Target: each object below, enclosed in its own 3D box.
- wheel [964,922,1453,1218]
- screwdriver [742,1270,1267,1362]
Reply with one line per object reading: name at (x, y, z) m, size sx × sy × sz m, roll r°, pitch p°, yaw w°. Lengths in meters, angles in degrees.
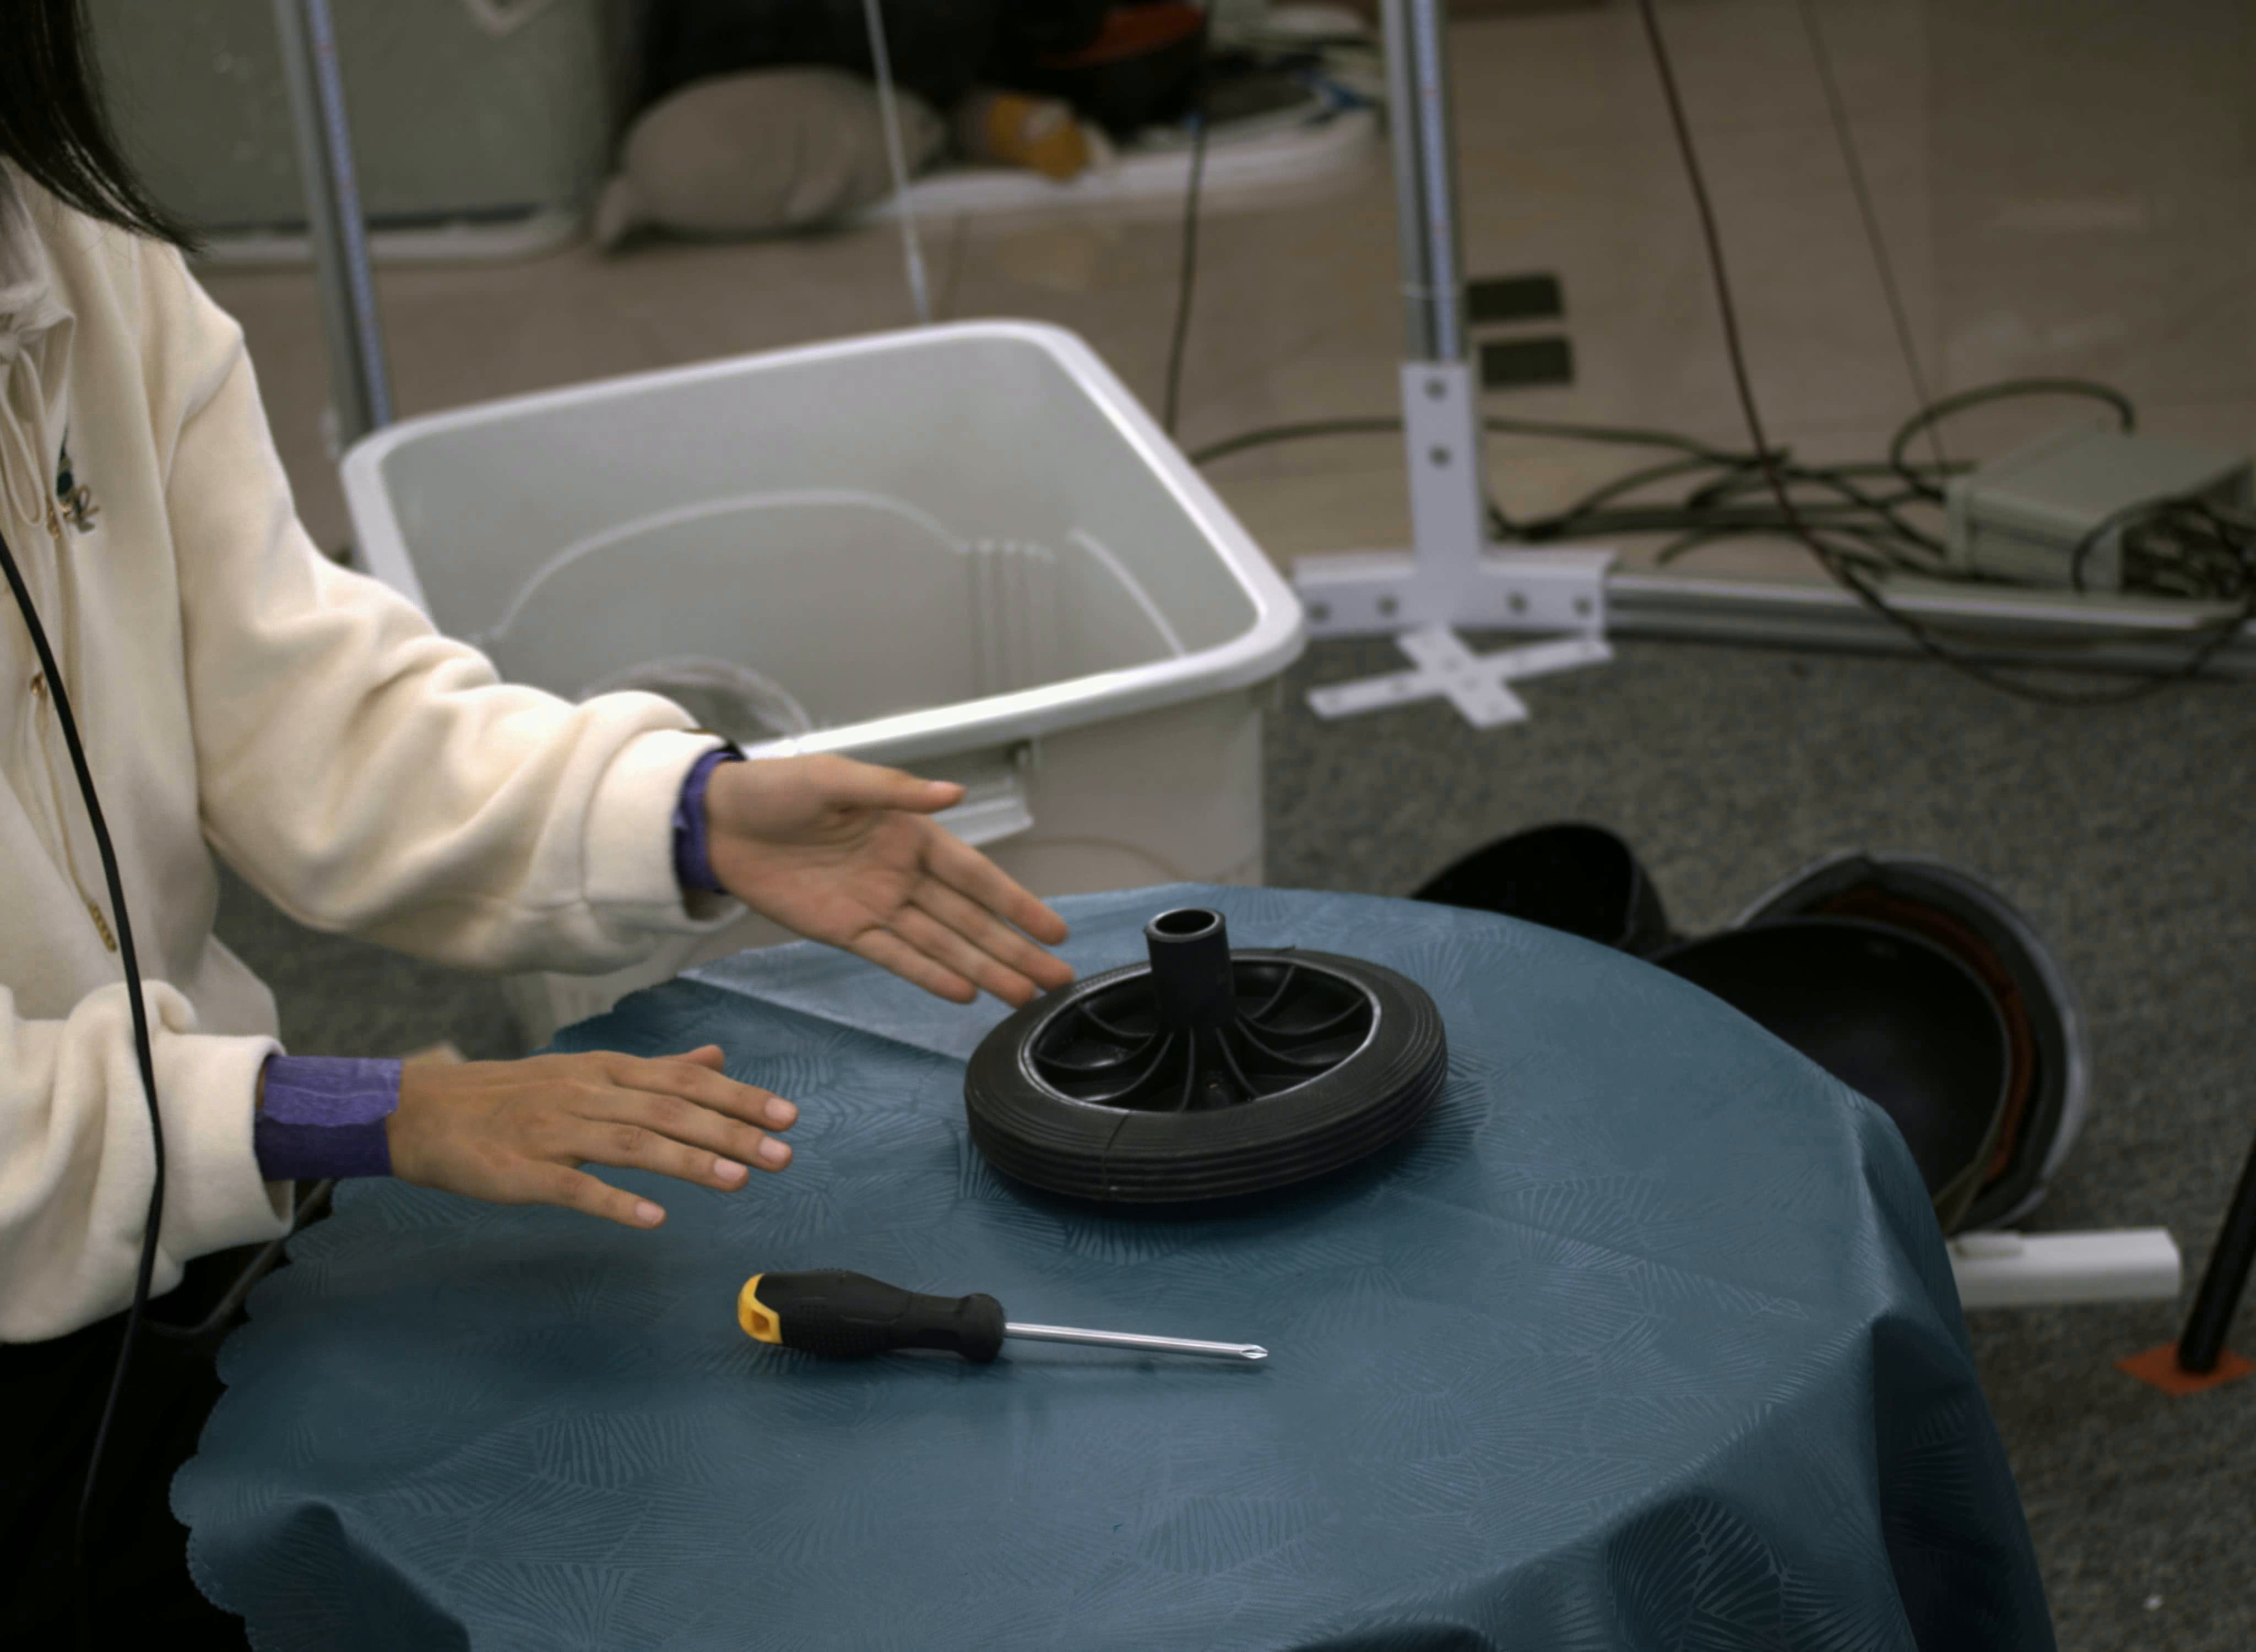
wheel at (0.029, 0.079, 2.179) m, size 0.186 × 0.080 × 0.188 m, roll -19°, pitch 27°, yaw -24°
screwdriver at (-0.044, 0.179, 2.045) m, size 0.196 × 0.032 × 0.031 m, roll 2°, pitch 26°, yaw 12°
